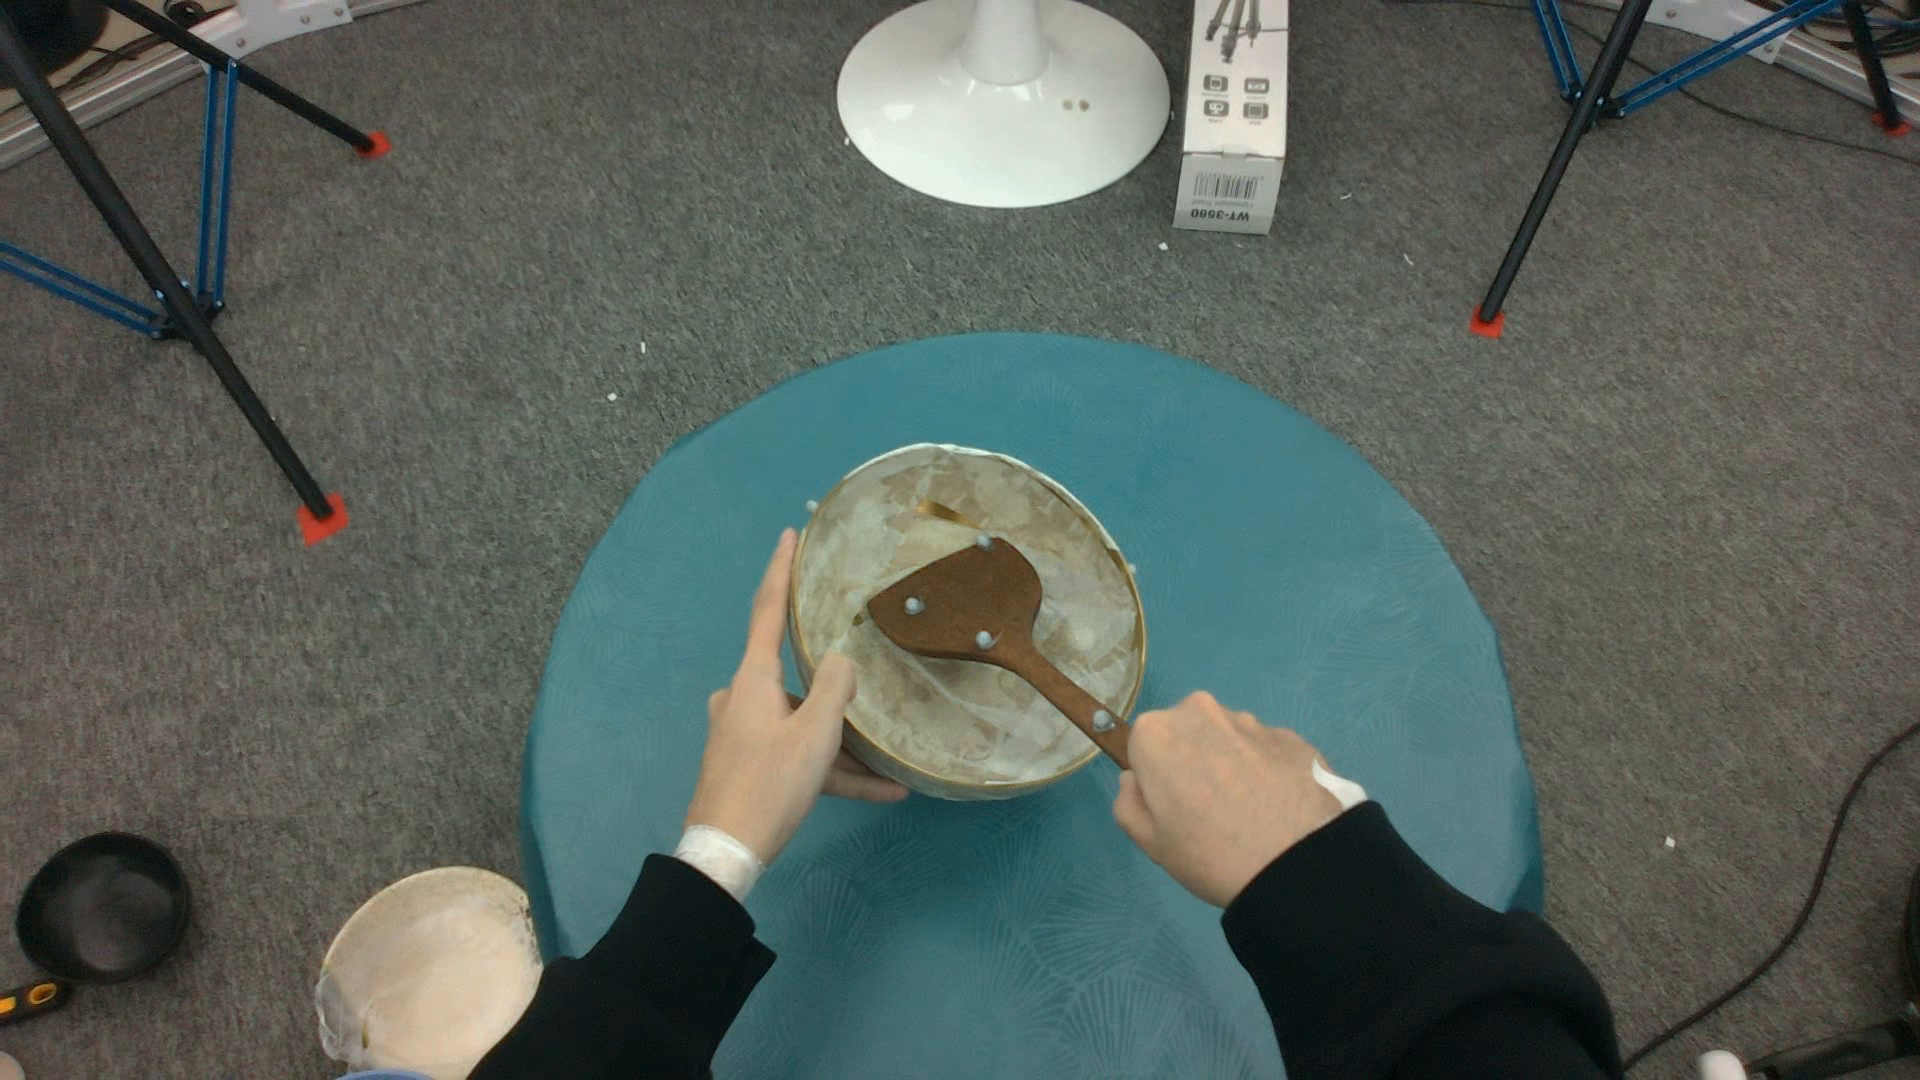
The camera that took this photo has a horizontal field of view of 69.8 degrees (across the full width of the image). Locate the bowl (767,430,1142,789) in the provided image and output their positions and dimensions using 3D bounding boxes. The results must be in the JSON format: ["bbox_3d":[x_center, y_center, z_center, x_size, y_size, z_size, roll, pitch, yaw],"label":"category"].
[{"bbox_3d":[-0.015,0.050,0.761,0.215,0.094,0.215,11,59,-18],"label":"bowl"}]

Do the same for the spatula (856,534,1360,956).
[{"bbox_3d":[0.056,0.078,0.650,0.096,0.016,0.386,-24,28,-17],"label":"spatula"}]
